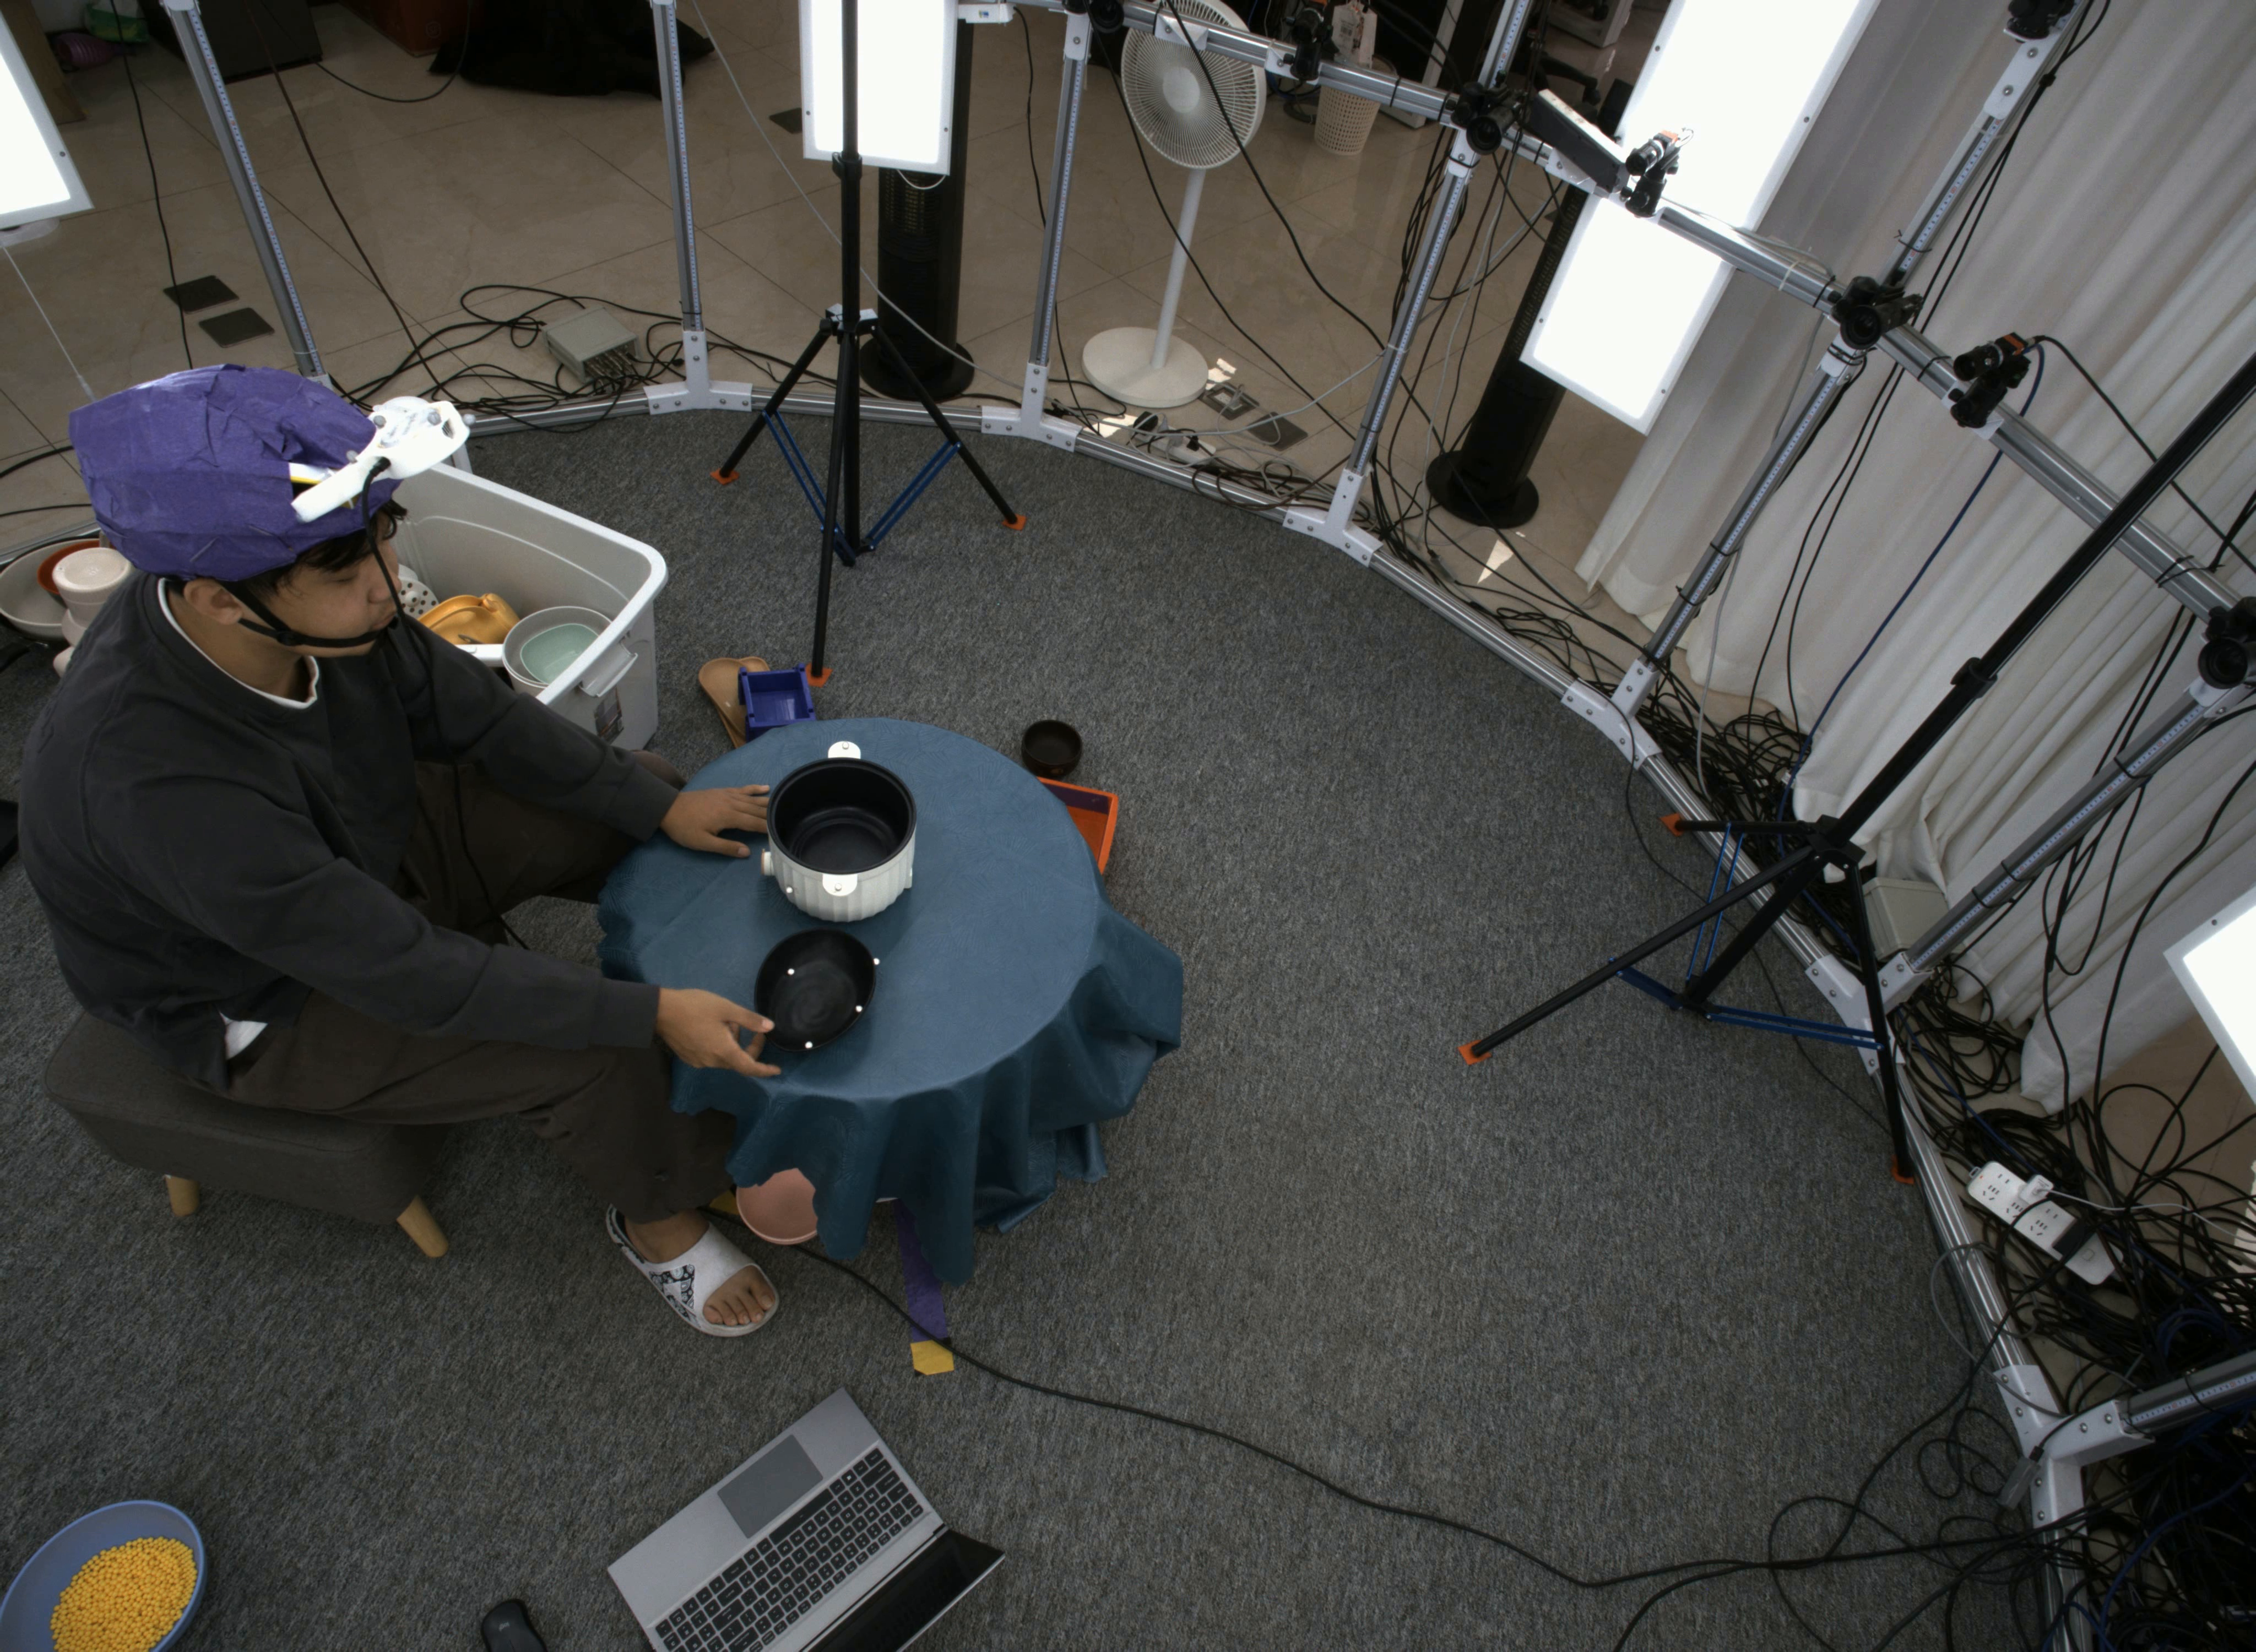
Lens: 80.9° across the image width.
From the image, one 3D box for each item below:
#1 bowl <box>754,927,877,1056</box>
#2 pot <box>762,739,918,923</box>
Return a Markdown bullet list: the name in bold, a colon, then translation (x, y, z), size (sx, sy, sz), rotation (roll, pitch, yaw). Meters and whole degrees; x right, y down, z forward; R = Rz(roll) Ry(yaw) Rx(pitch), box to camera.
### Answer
- **bowl**: translation (-0.369, 0.203, 1.540), size (0.136, 0.068, 0.168), rotation (16, 53, 0)
- **pot**: translation (-0.362, 0.024, 1.628), size (0.191, 0.145, 0.235), rotation (2, 52, -15)
